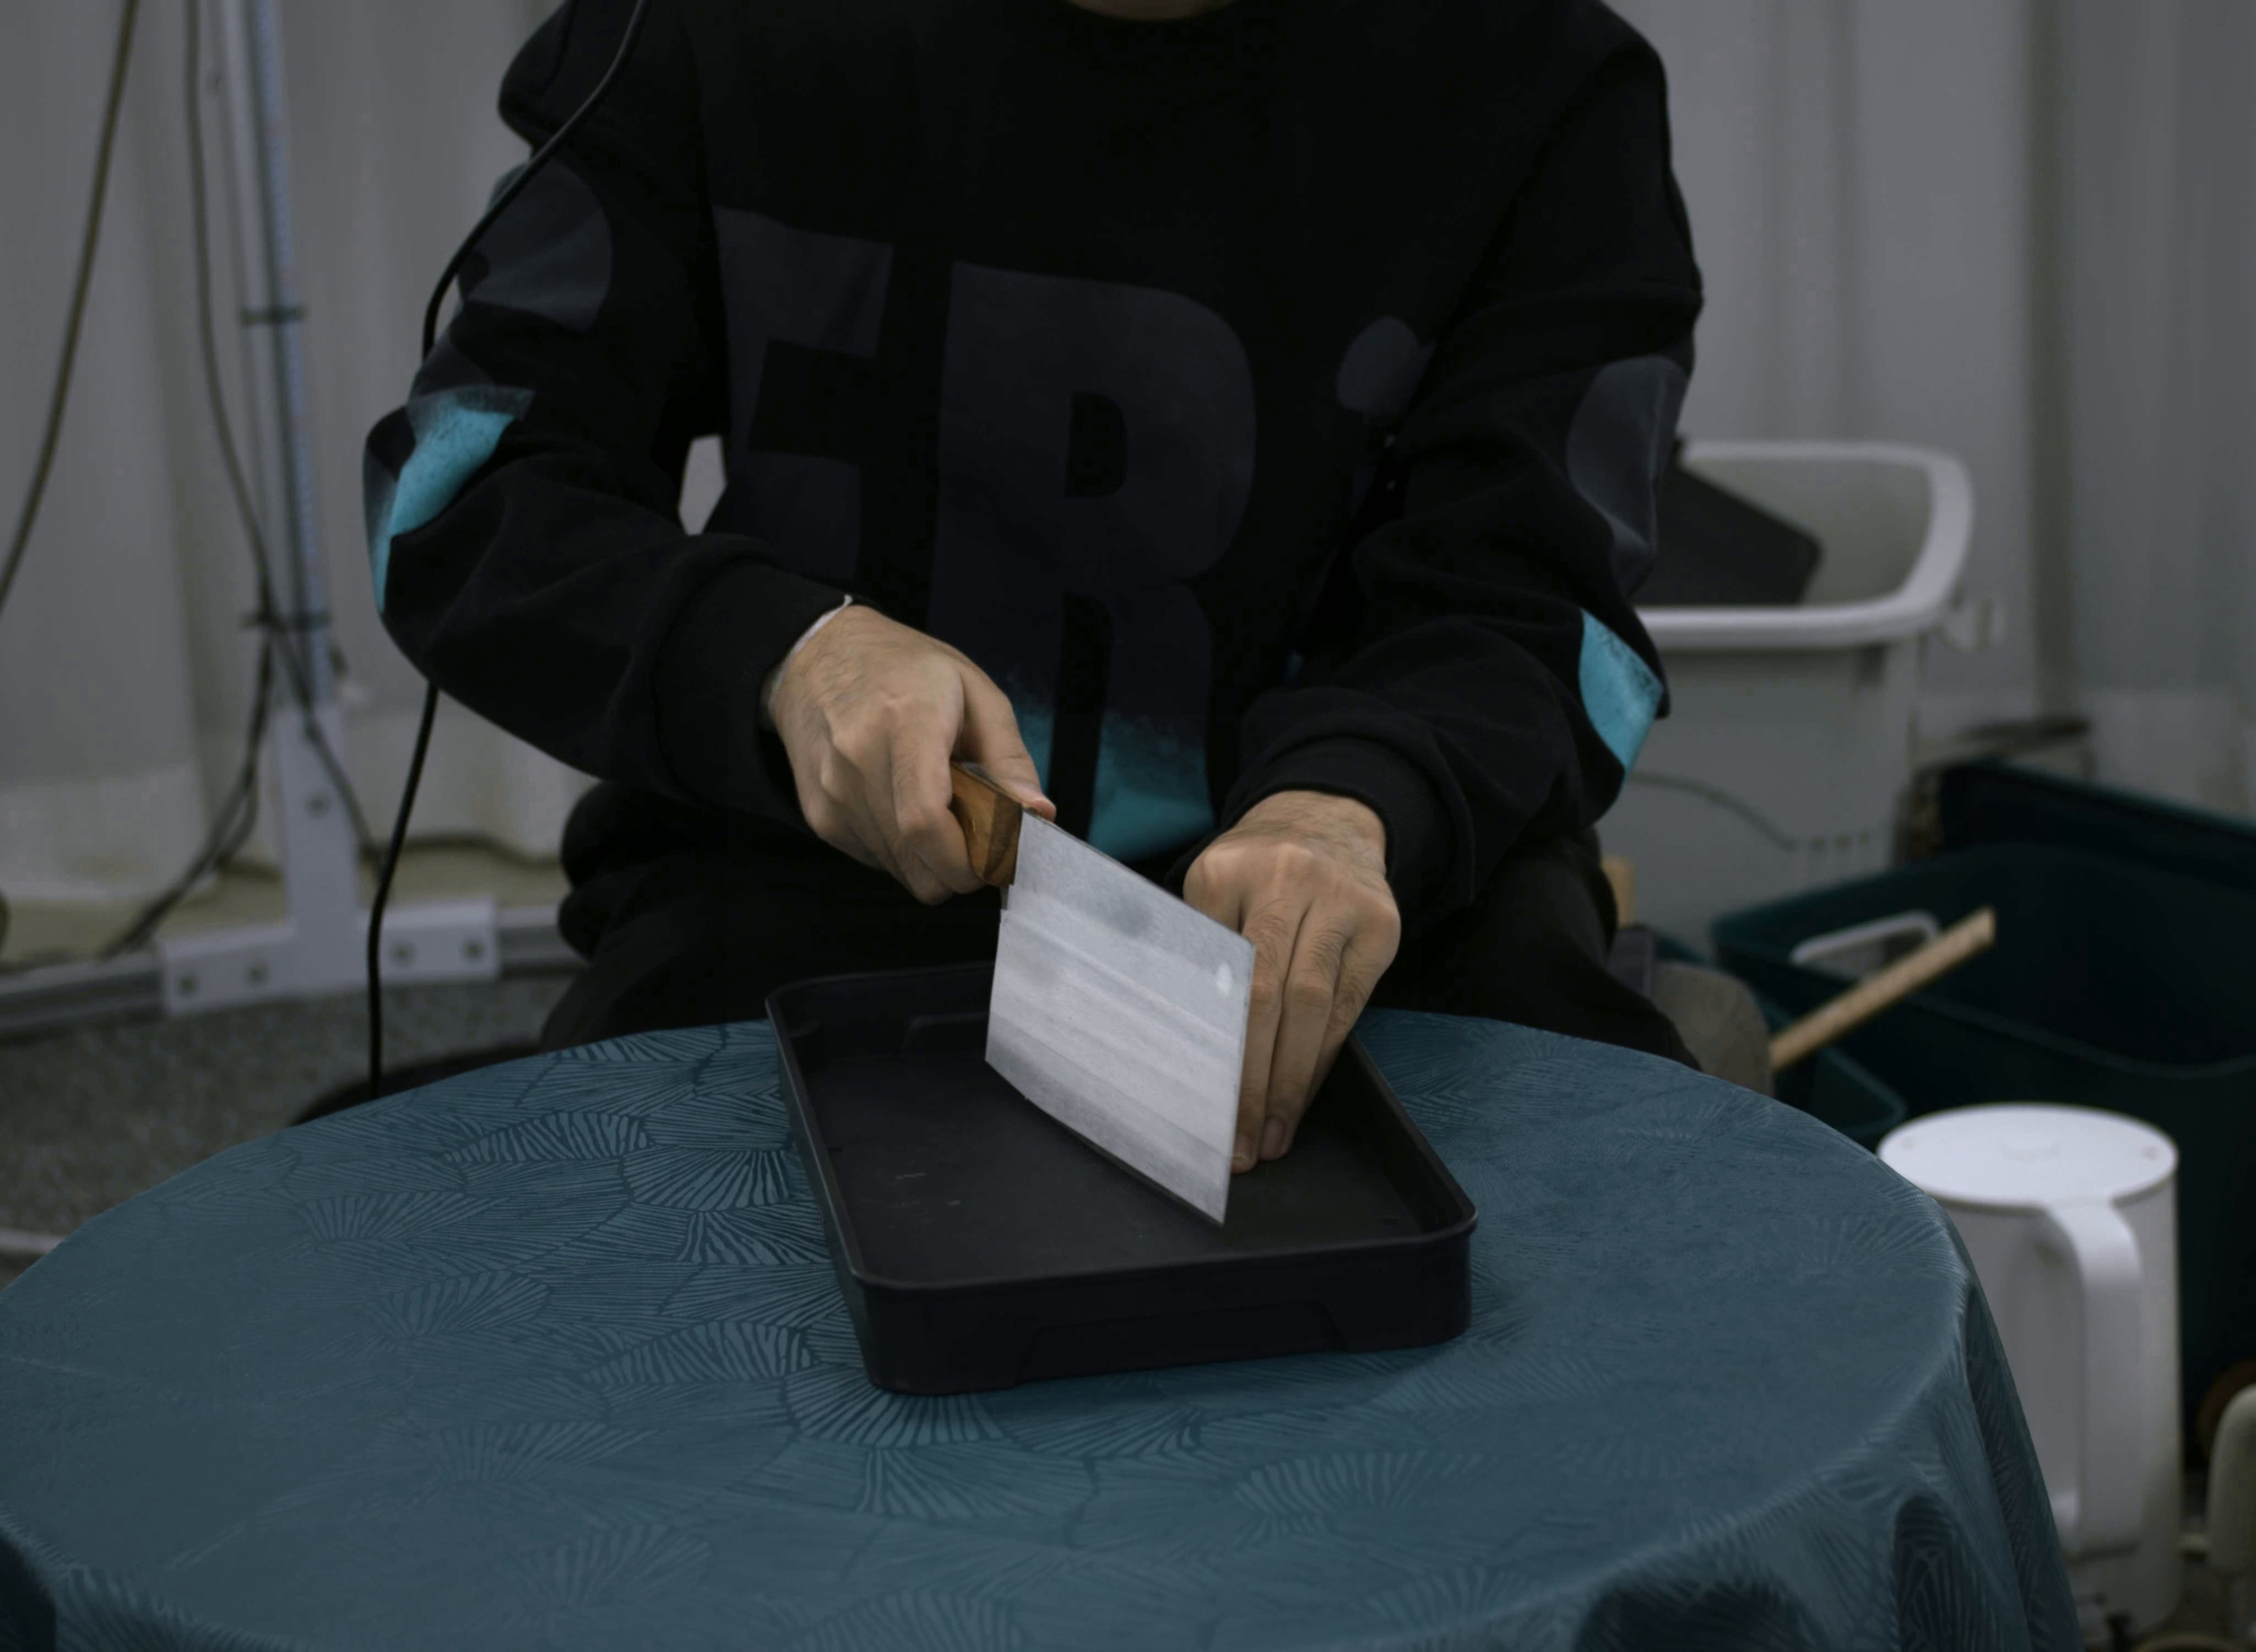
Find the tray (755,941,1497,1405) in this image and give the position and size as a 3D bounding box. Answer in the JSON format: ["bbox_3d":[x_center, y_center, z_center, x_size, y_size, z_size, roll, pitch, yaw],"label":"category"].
[{"bbox_3d":[-0.008,0.102,1.696,0.183,0.037,0.320,-6,15,-9],"label":"tray"}]

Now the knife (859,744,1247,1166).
[{"bbox_3d":[-0.028,0.041,1.773,0.021,0.093,0.308,2,12,-24],"label":"knife"}]
